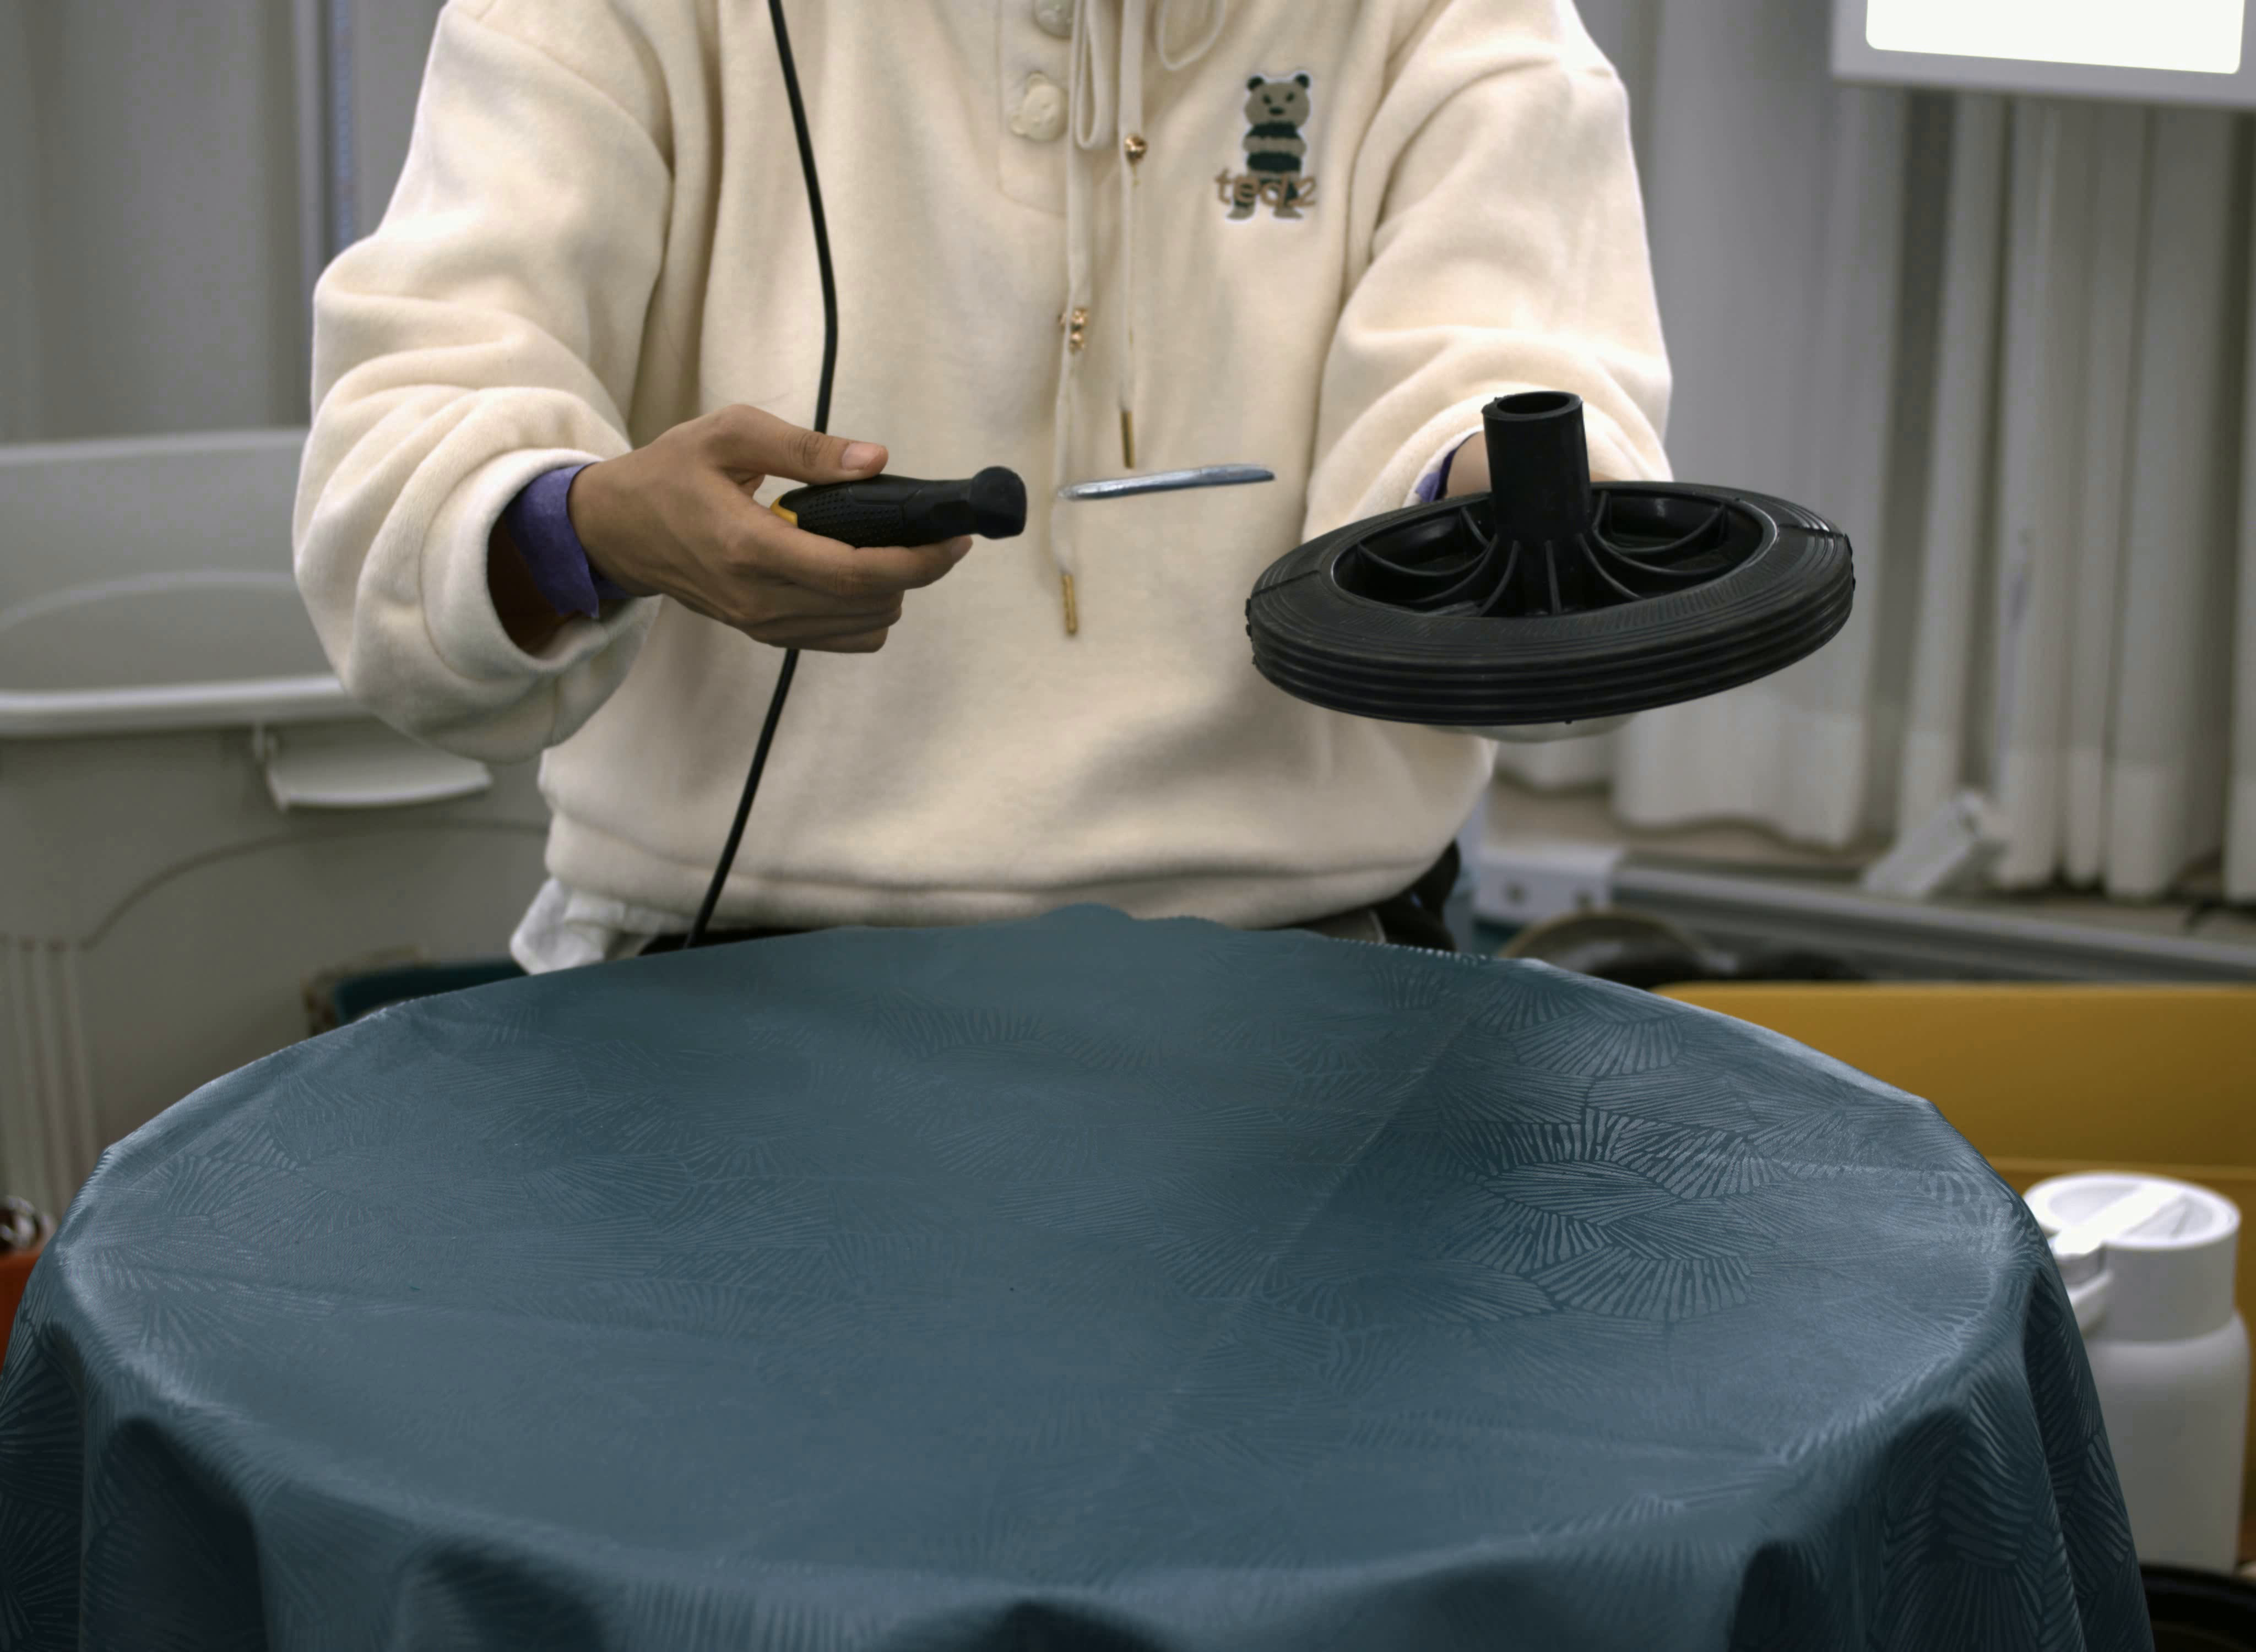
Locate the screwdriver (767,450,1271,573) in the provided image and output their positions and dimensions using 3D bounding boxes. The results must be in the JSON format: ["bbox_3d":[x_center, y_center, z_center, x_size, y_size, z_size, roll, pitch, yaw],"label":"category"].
[{"bbox_3d":[-0.036,-0.102,1.706,0.196,0.032,0.031,-3,12,33],"label":"screwdriver"}]

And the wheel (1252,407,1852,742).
[{"bbox_3d":[0.128,-0.087,1.629,0.185,0.080,0.190,8,26,36],"label":"wheel"}]
